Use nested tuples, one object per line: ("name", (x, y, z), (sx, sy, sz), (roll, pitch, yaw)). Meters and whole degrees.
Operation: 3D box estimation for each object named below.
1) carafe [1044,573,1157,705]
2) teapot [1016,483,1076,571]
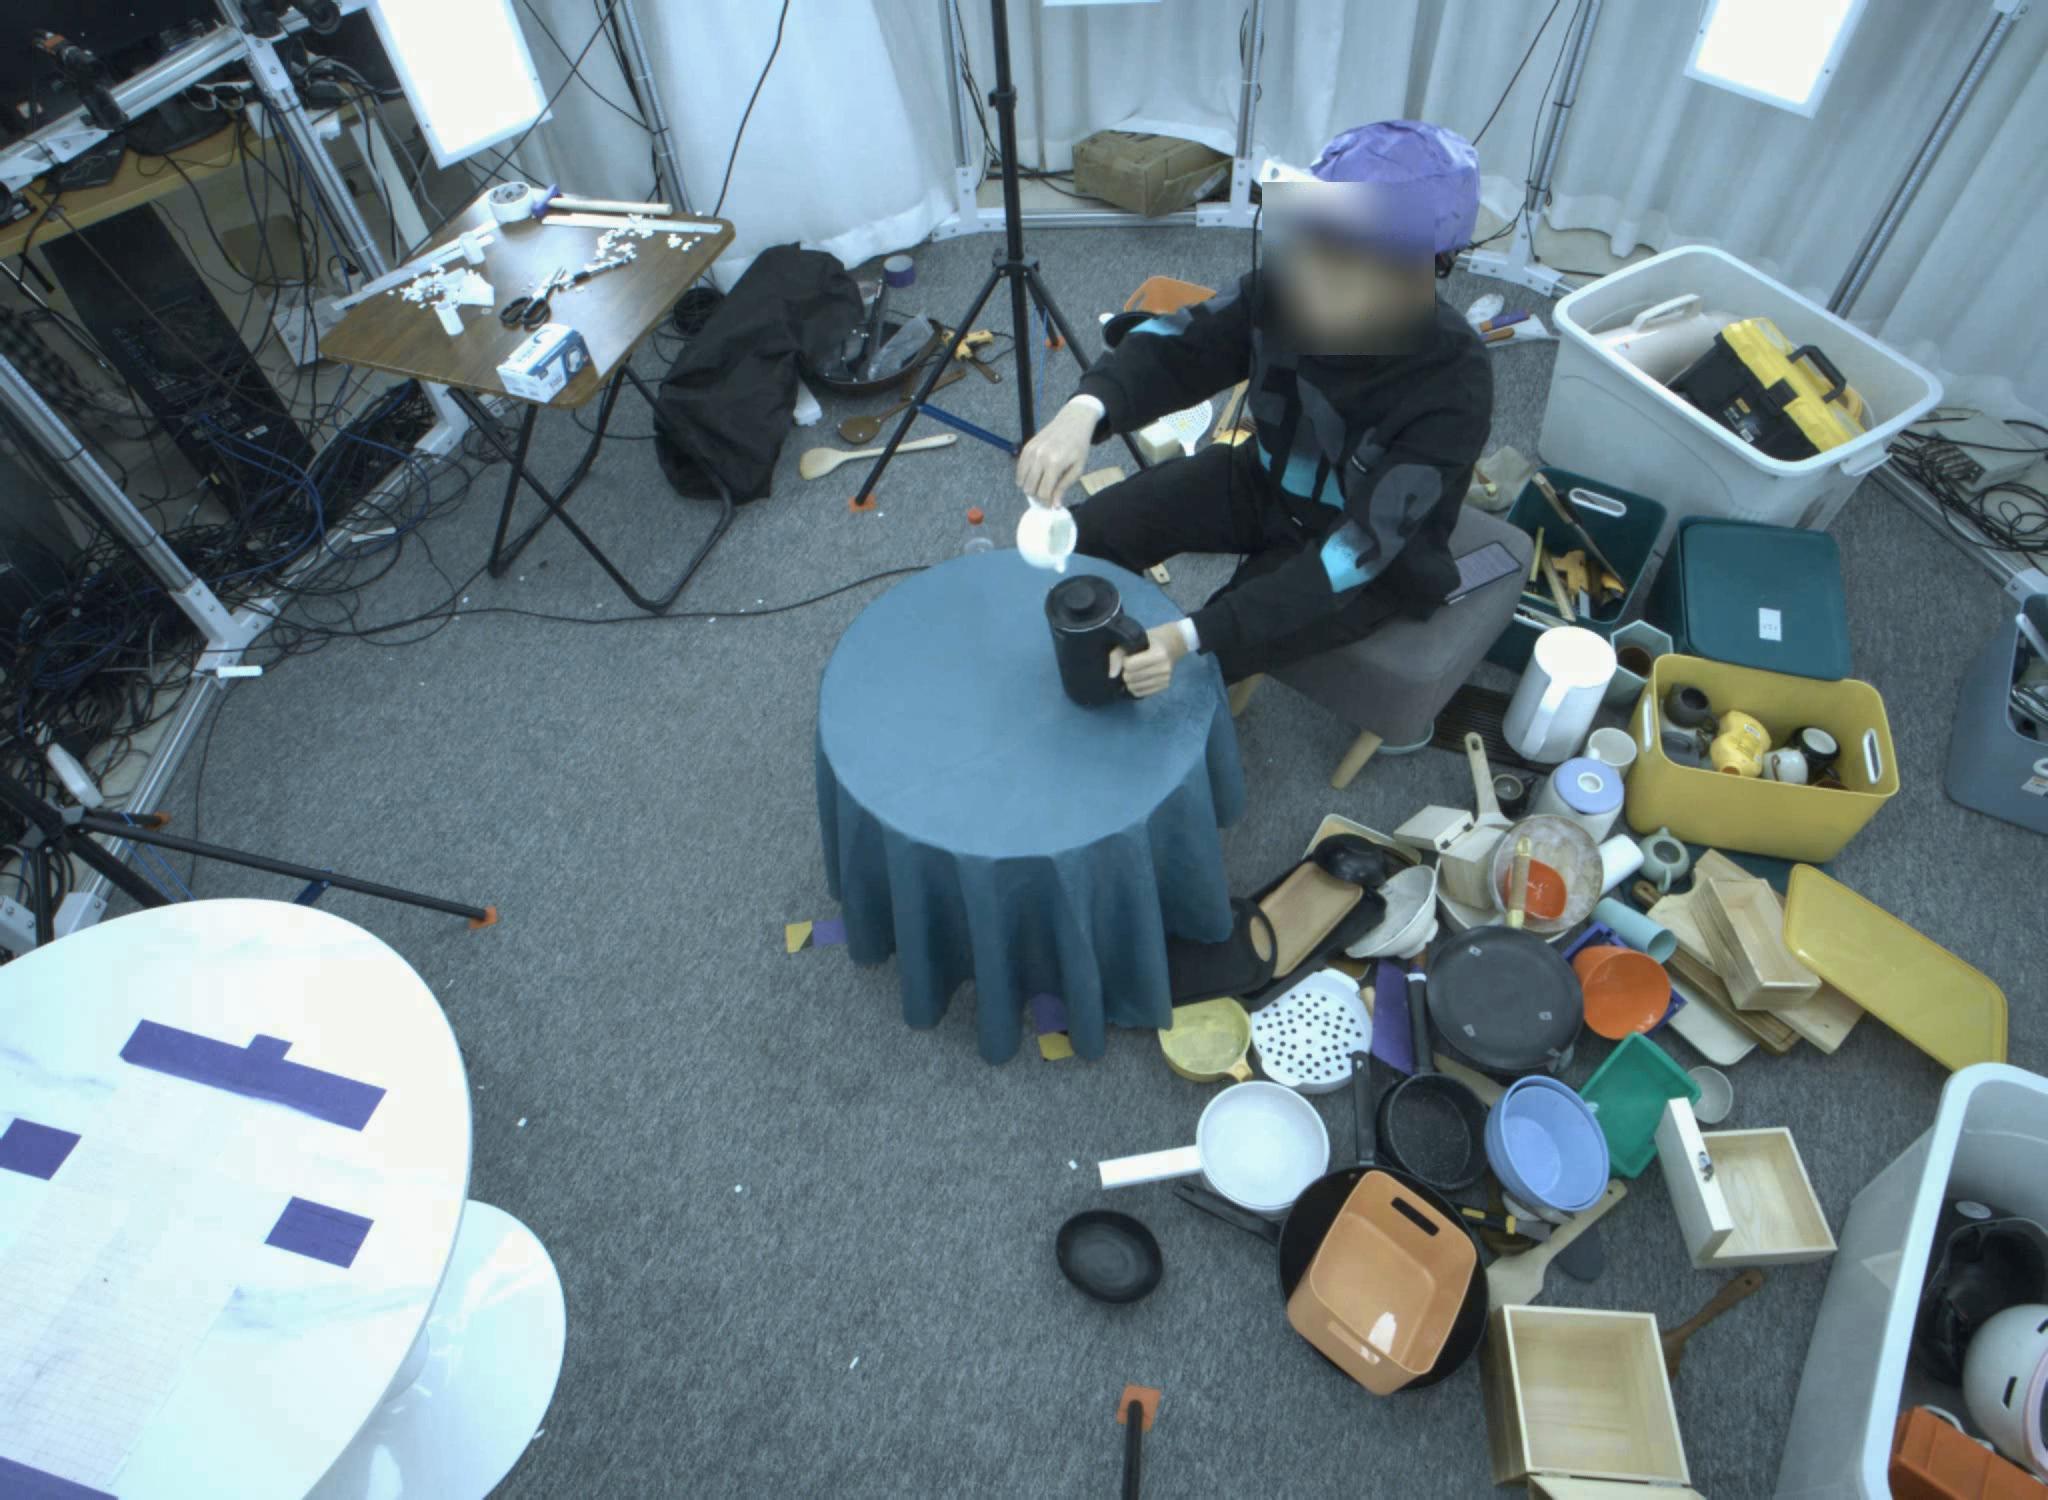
("carafe", (0.111, -0.152, 1.761), (0.168, 0.176, 0.115), (29, 62, 32))
("teapot", (0.028, -0.309, 1.692), (0.055, 0.129, 0.094), (23, 48, 37))
